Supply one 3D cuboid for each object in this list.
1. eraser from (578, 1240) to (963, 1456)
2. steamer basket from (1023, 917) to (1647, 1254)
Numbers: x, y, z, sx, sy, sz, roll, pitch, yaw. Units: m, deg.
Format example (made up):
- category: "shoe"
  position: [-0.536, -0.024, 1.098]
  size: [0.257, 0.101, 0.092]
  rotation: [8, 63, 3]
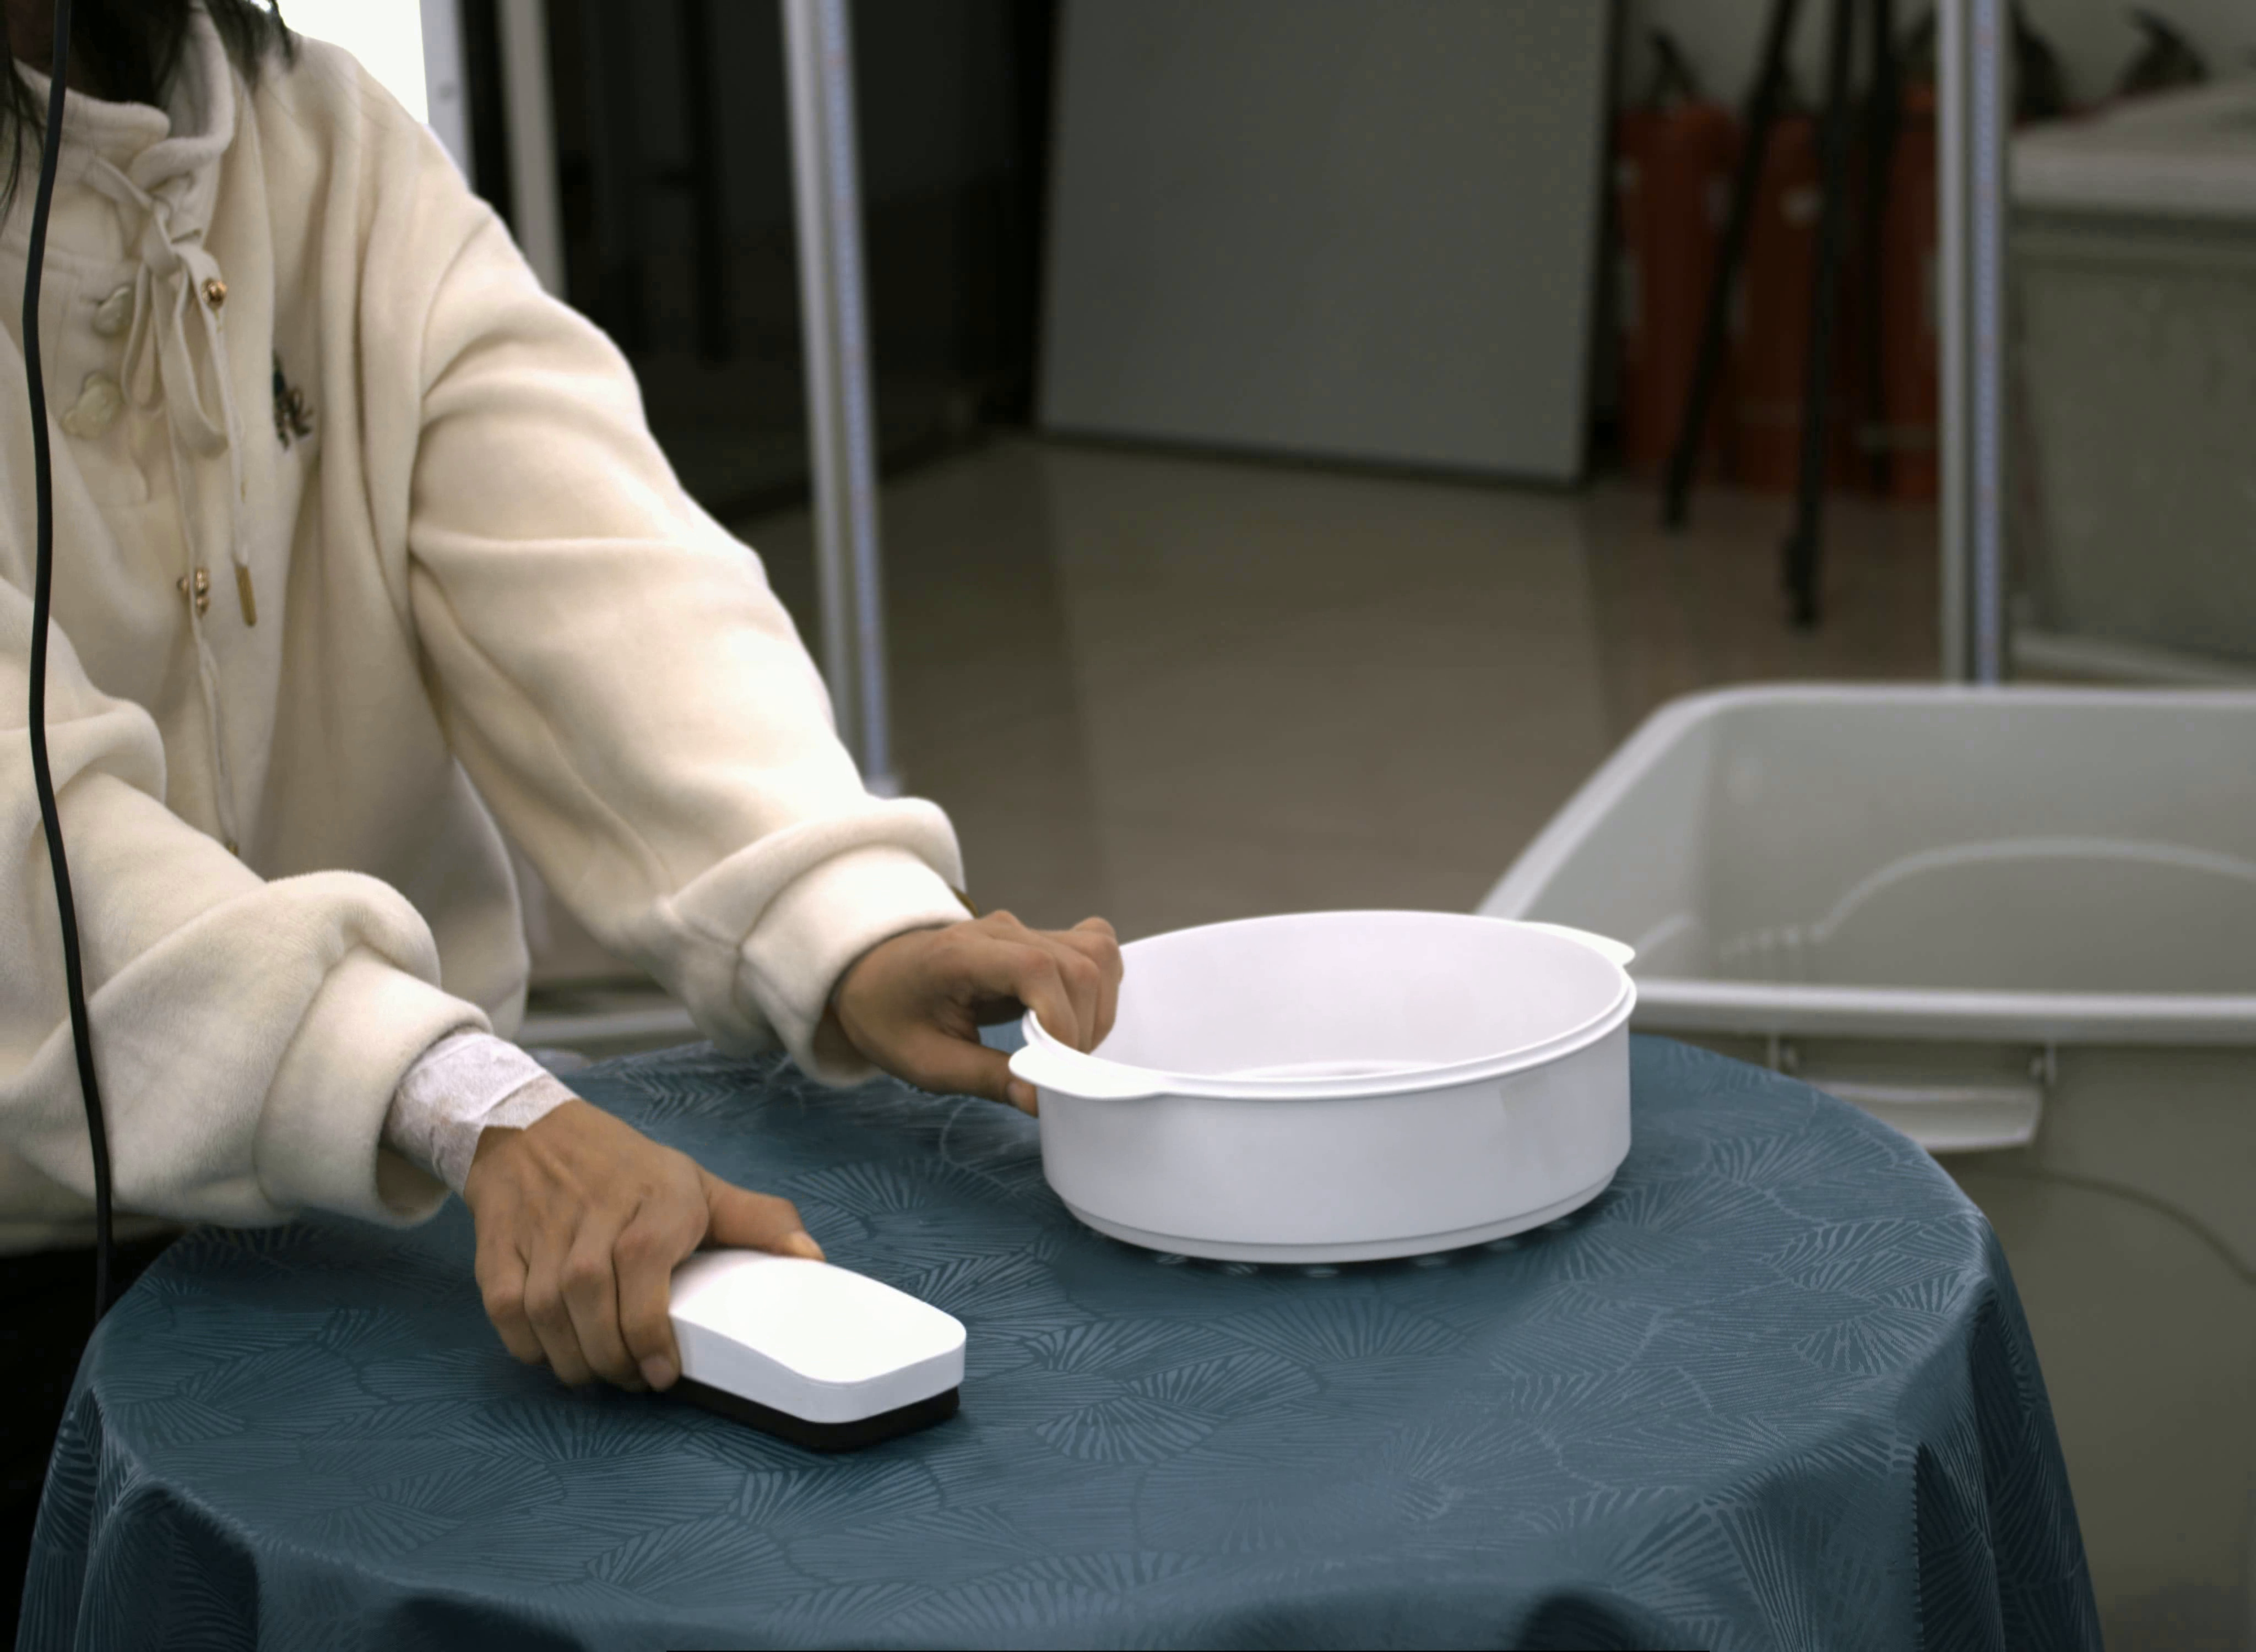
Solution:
- category: "eraser"
  position: [-0.106, 0.151, 1.605]
  size: [0.062, 0.035, 0.132]
  rotation: [-13, 19, -38]
- category: "steamer basket"
  position: [0.071, 0.085, 1.755]
  size: [0.225, 0.070, 0.204]
  rotation: [-11, 15, -34]
